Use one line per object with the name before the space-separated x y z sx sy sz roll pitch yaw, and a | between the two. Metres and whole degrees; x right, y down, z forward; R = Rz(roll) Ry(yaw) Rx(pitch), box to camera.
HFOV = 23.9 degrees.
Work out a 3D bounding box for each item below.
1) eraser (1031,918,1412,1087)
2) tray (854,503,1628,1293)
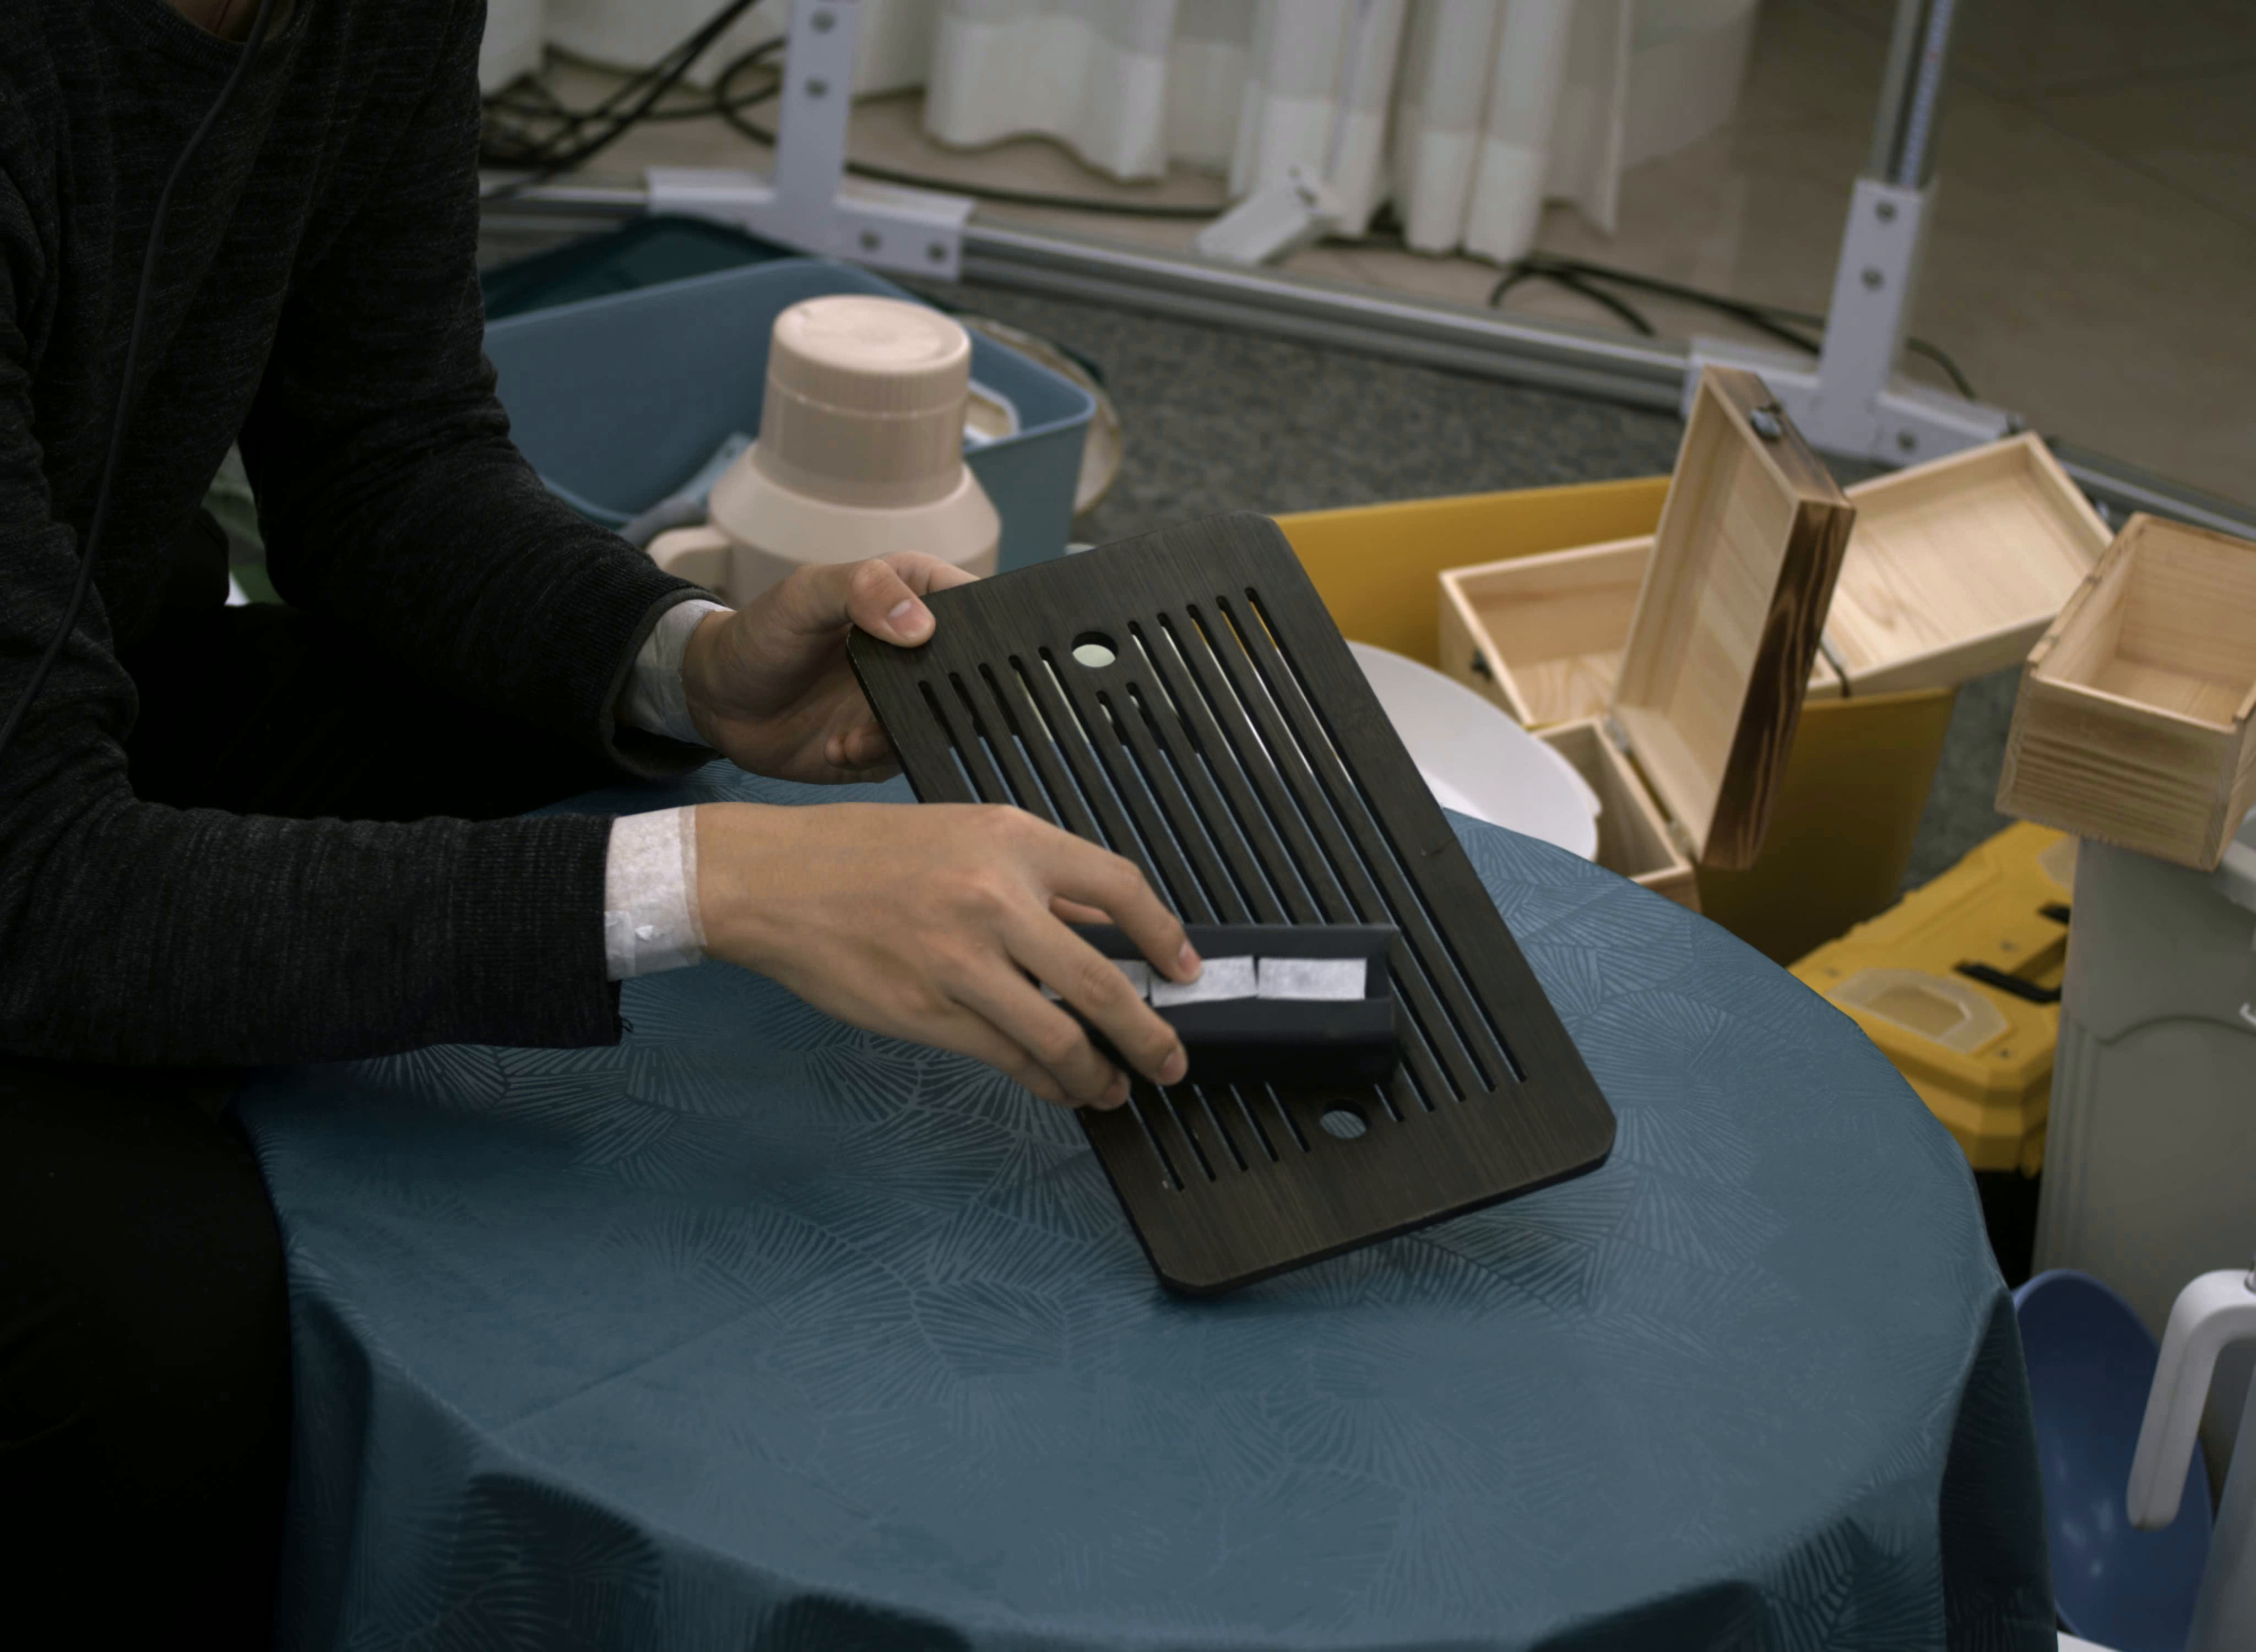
eraser | 0.030 0.059 1.789 0.125 0.030 0.054 -2 50 -3
tray | 0.035 0.020 1.845 0.169 0.018 0.309 -17 55 -16
